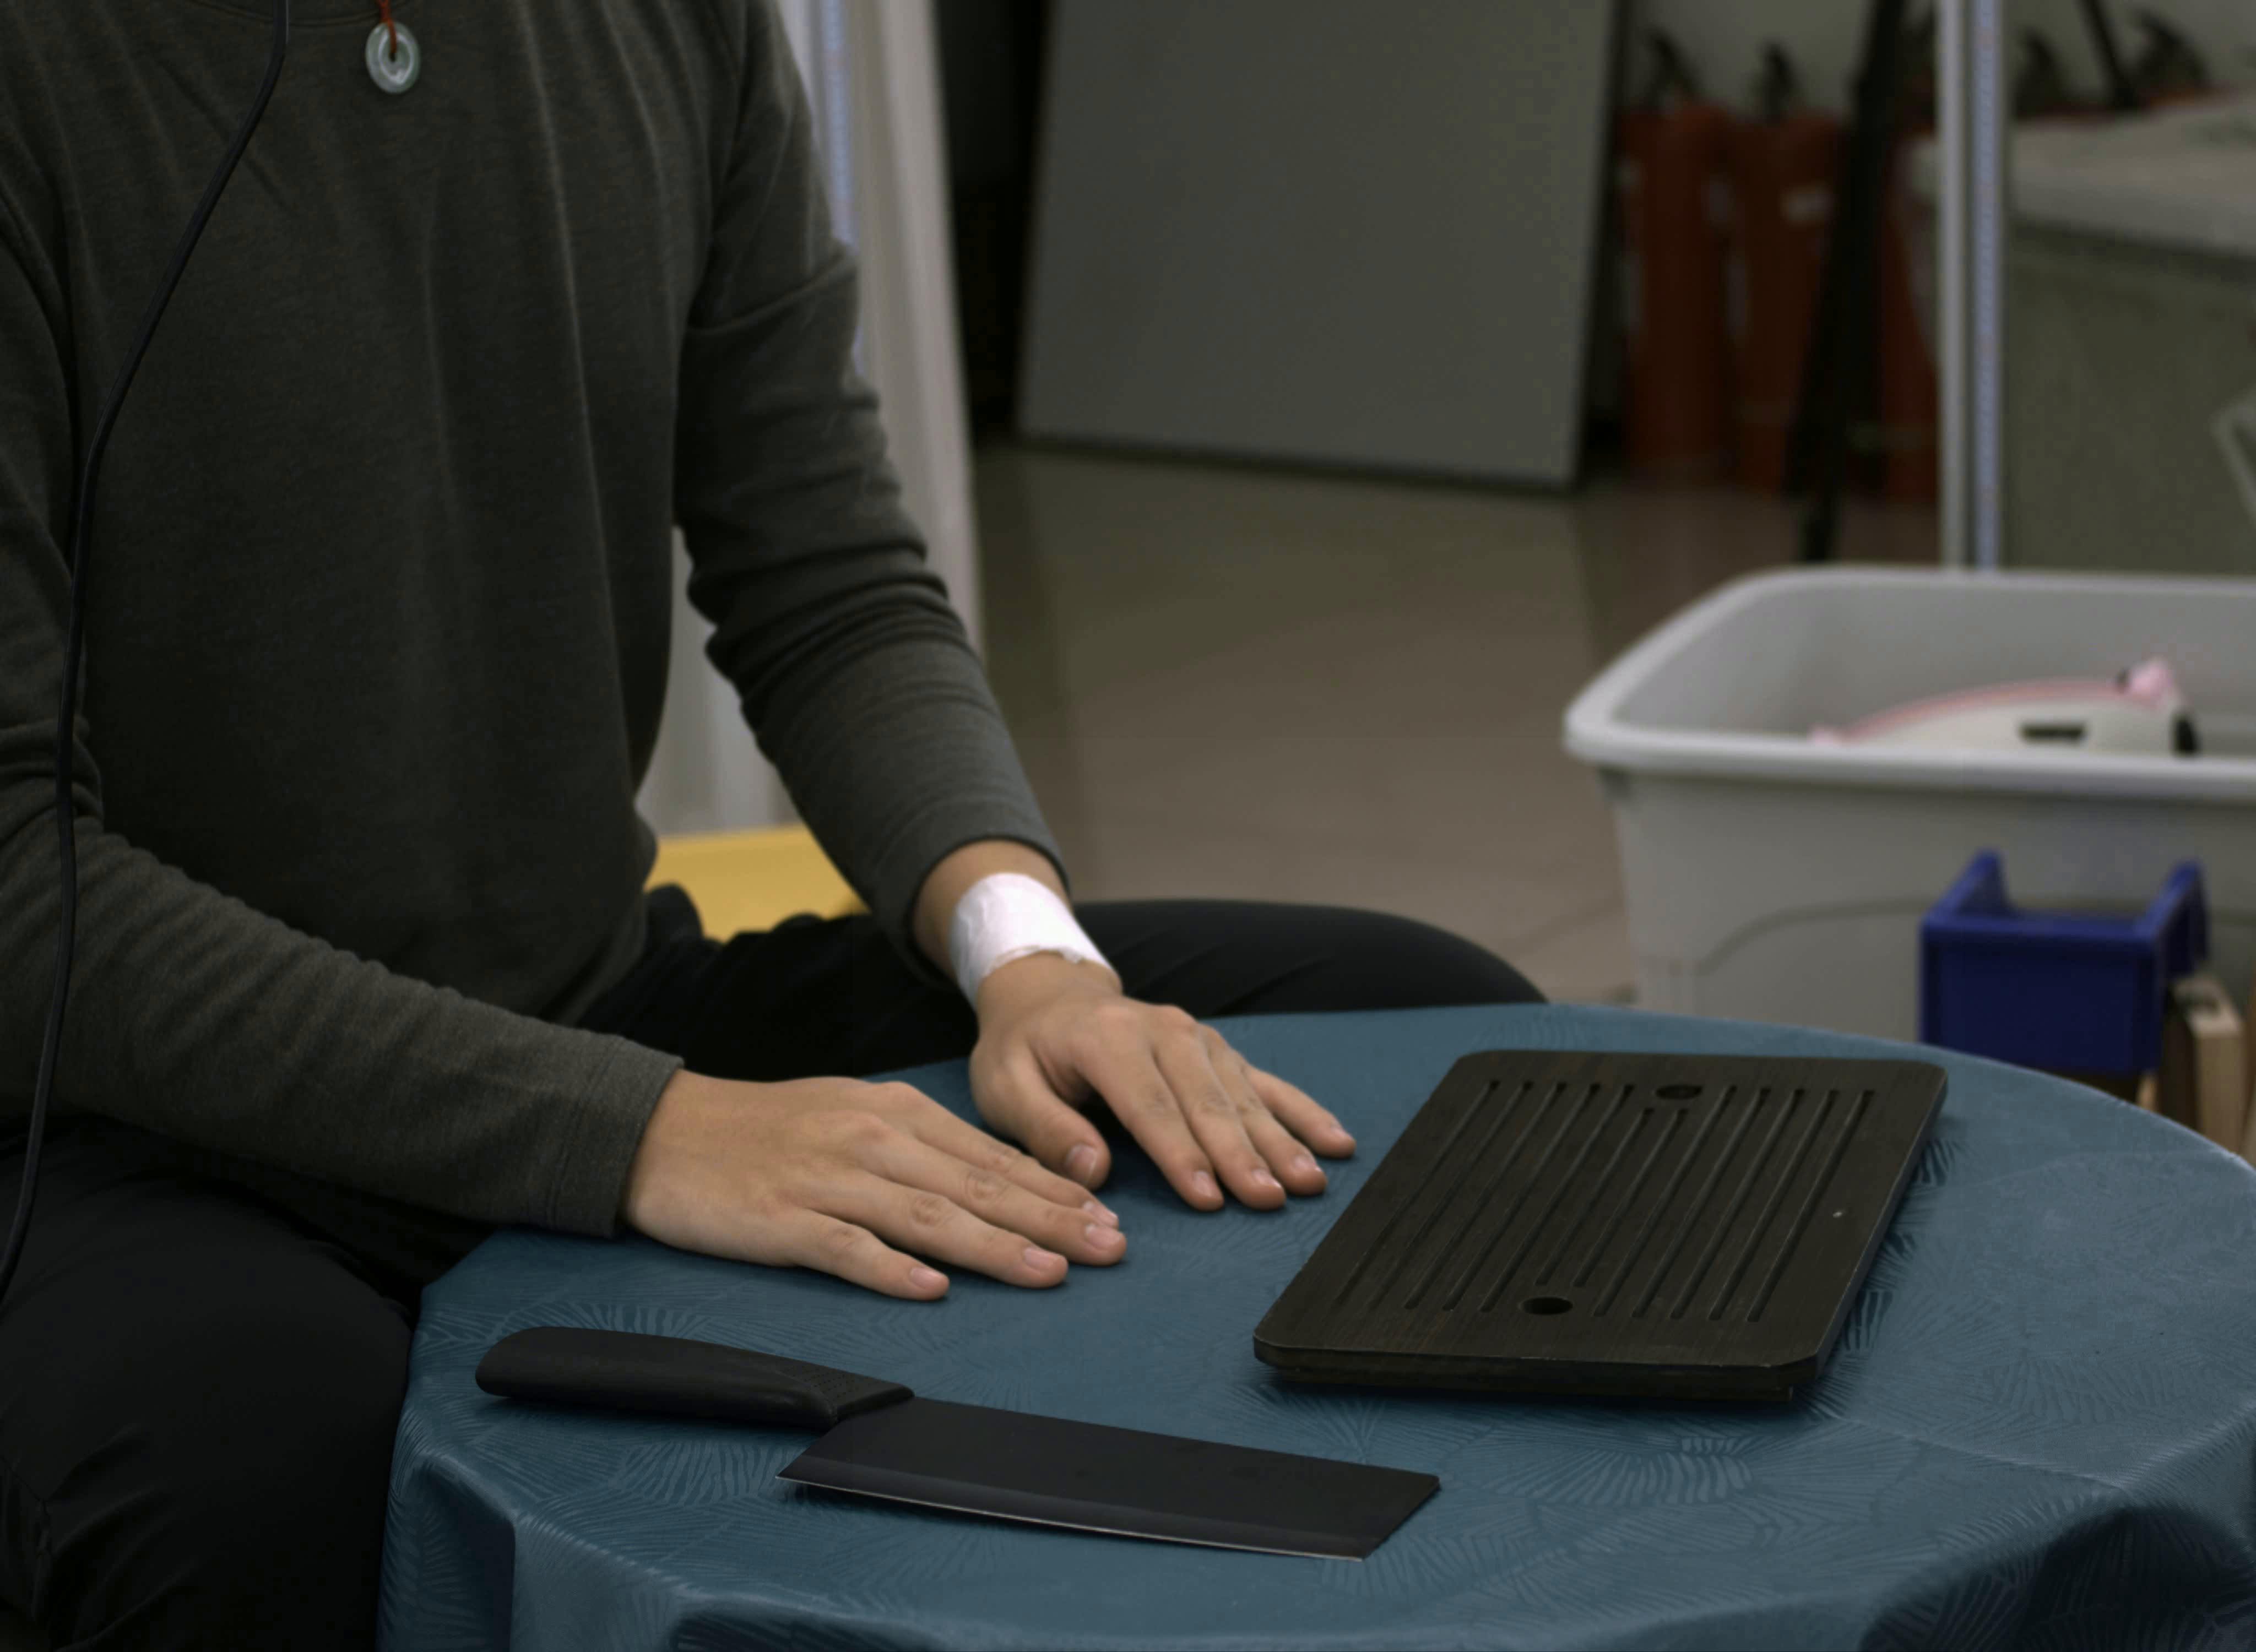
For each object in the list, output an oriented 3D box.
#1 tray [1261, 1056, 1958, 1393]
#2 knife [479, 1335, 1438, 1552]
[{"bbox_3d":[0.158,0.122,1.685,0.169,0.019,0.303,-1,13,17],"label":"tray"},{"bbox_3d":[-0.057,0.176,1.536,0.303,0.021,0.079,6,18,31],"label":"knife"}]
